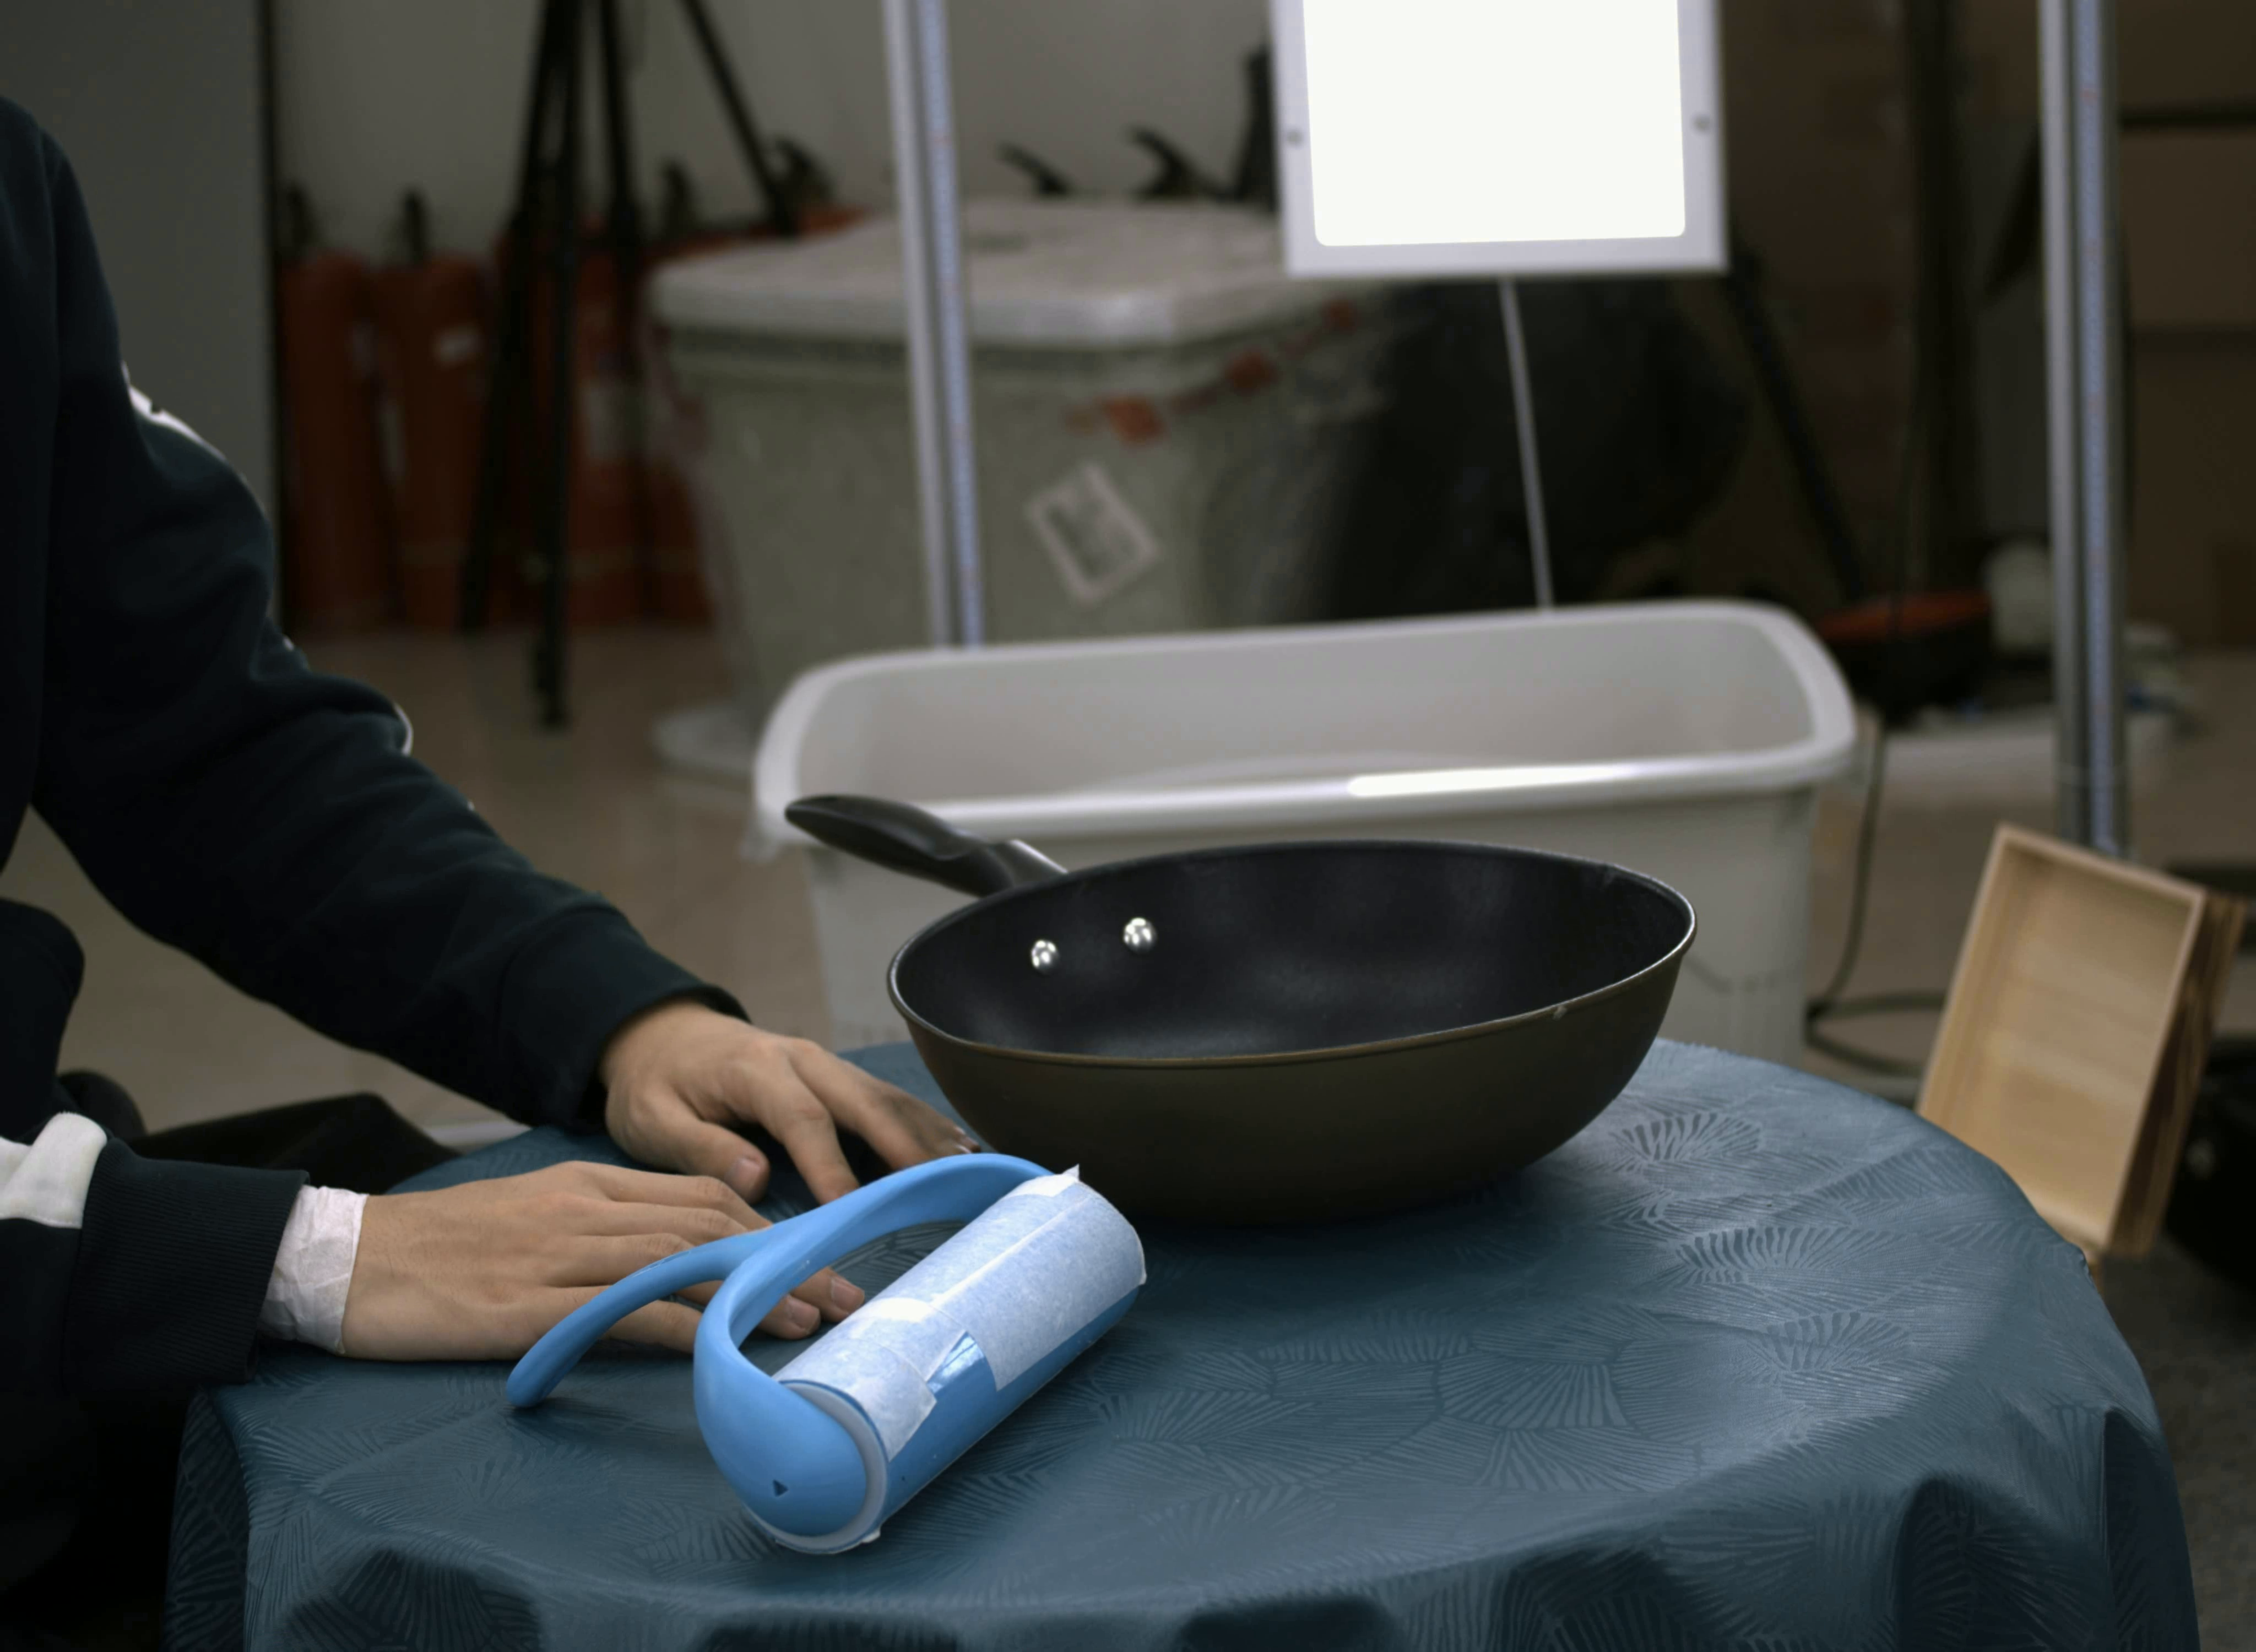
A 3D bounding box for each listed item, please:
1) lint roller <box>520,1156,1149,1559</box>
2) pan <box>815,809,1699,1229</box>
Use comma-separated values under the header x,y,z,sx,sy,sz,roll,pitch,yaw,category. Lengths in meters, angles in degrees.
x,y,z,sx,sy,sz,roll,pitch,yaw,category
-0.108,0.159,1.687,0.183,0.068,0.225,1,17,20,lint roller
0.008,0.065,1.975,0.281,0.087,0.472,-13,15,-31,pan
